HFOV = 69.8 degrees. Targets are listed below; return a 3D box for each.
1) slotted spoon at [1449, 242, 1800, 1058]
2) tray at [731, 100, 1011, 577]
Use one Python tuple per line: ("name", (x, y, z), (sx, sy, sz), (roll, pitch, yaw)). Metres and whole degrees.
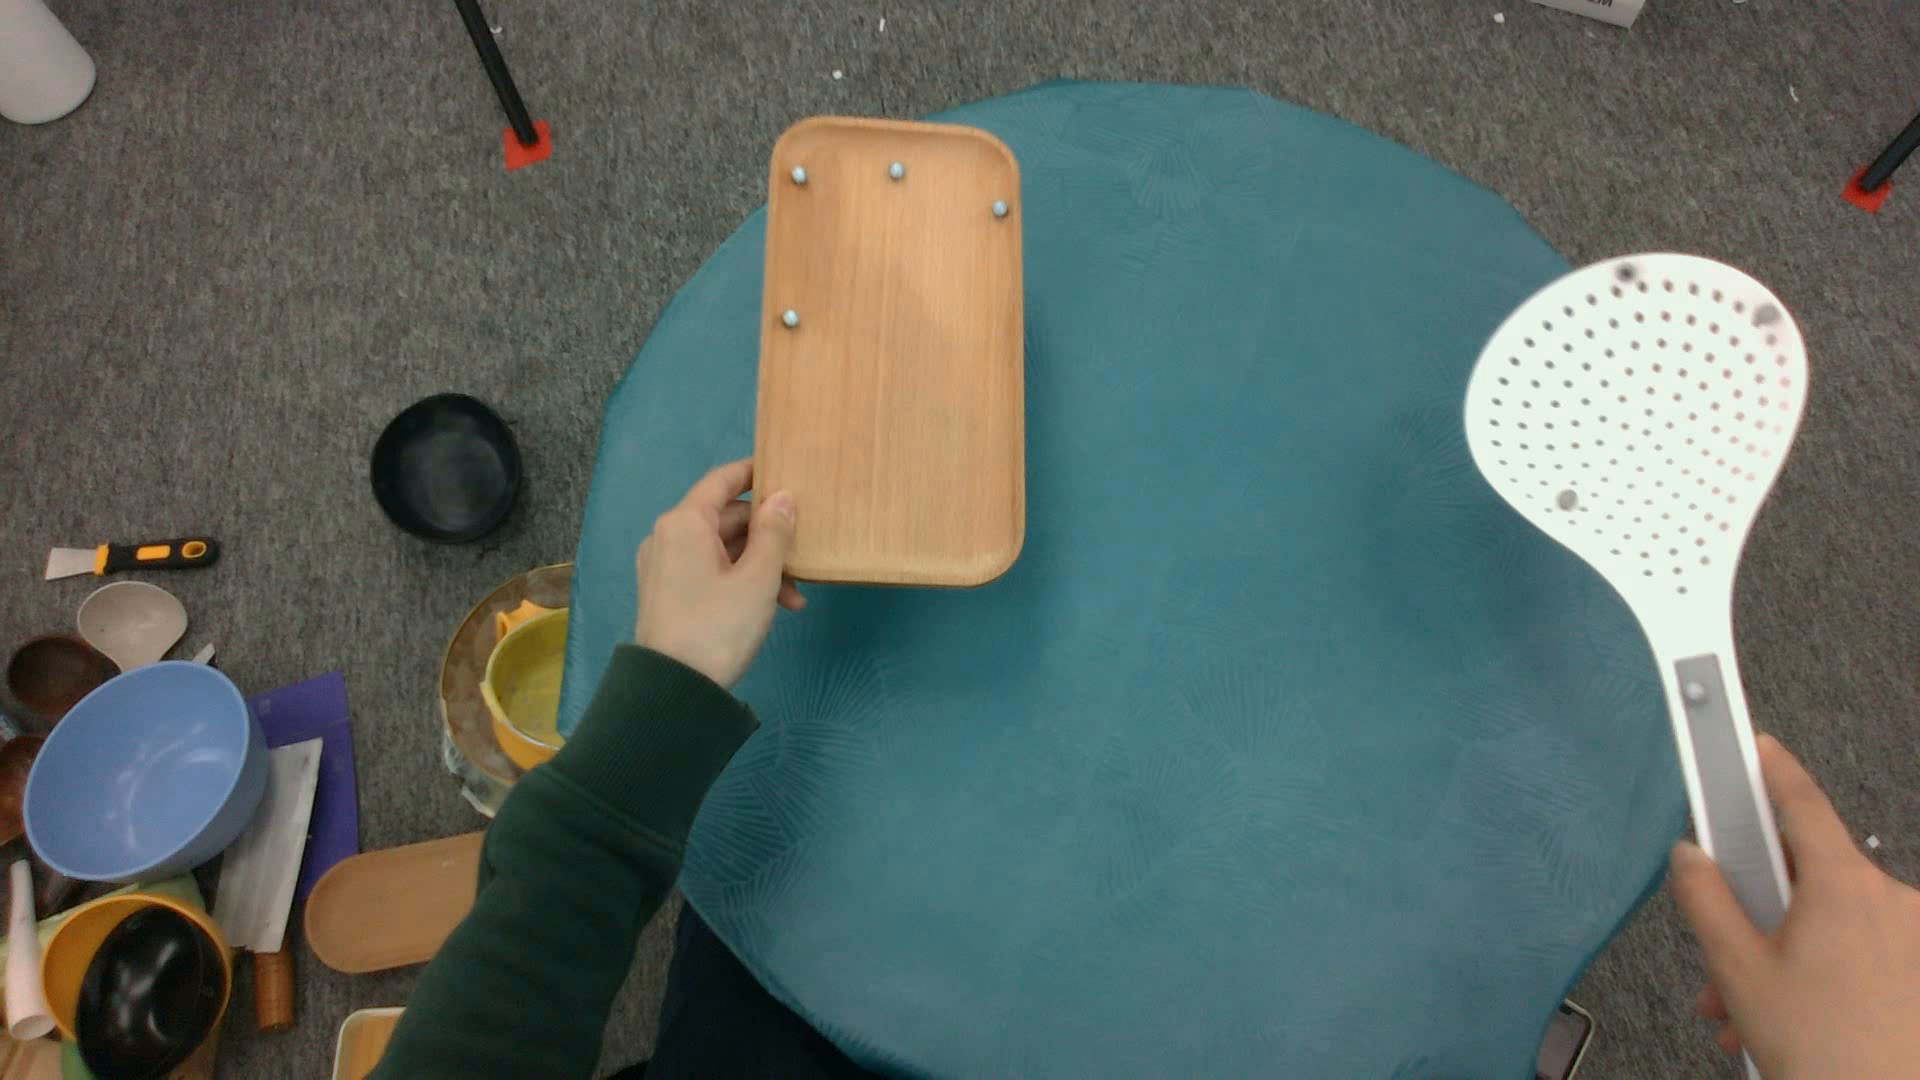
("slotted spoon", (0.283, 0.024, 0.558), (0.135, 0.045, 0.351), (-18, 50, 32))
("tray", (-0.041, -0.102, 0.668), (0.130, 0.023, 0.251), (2, 71, -5))
